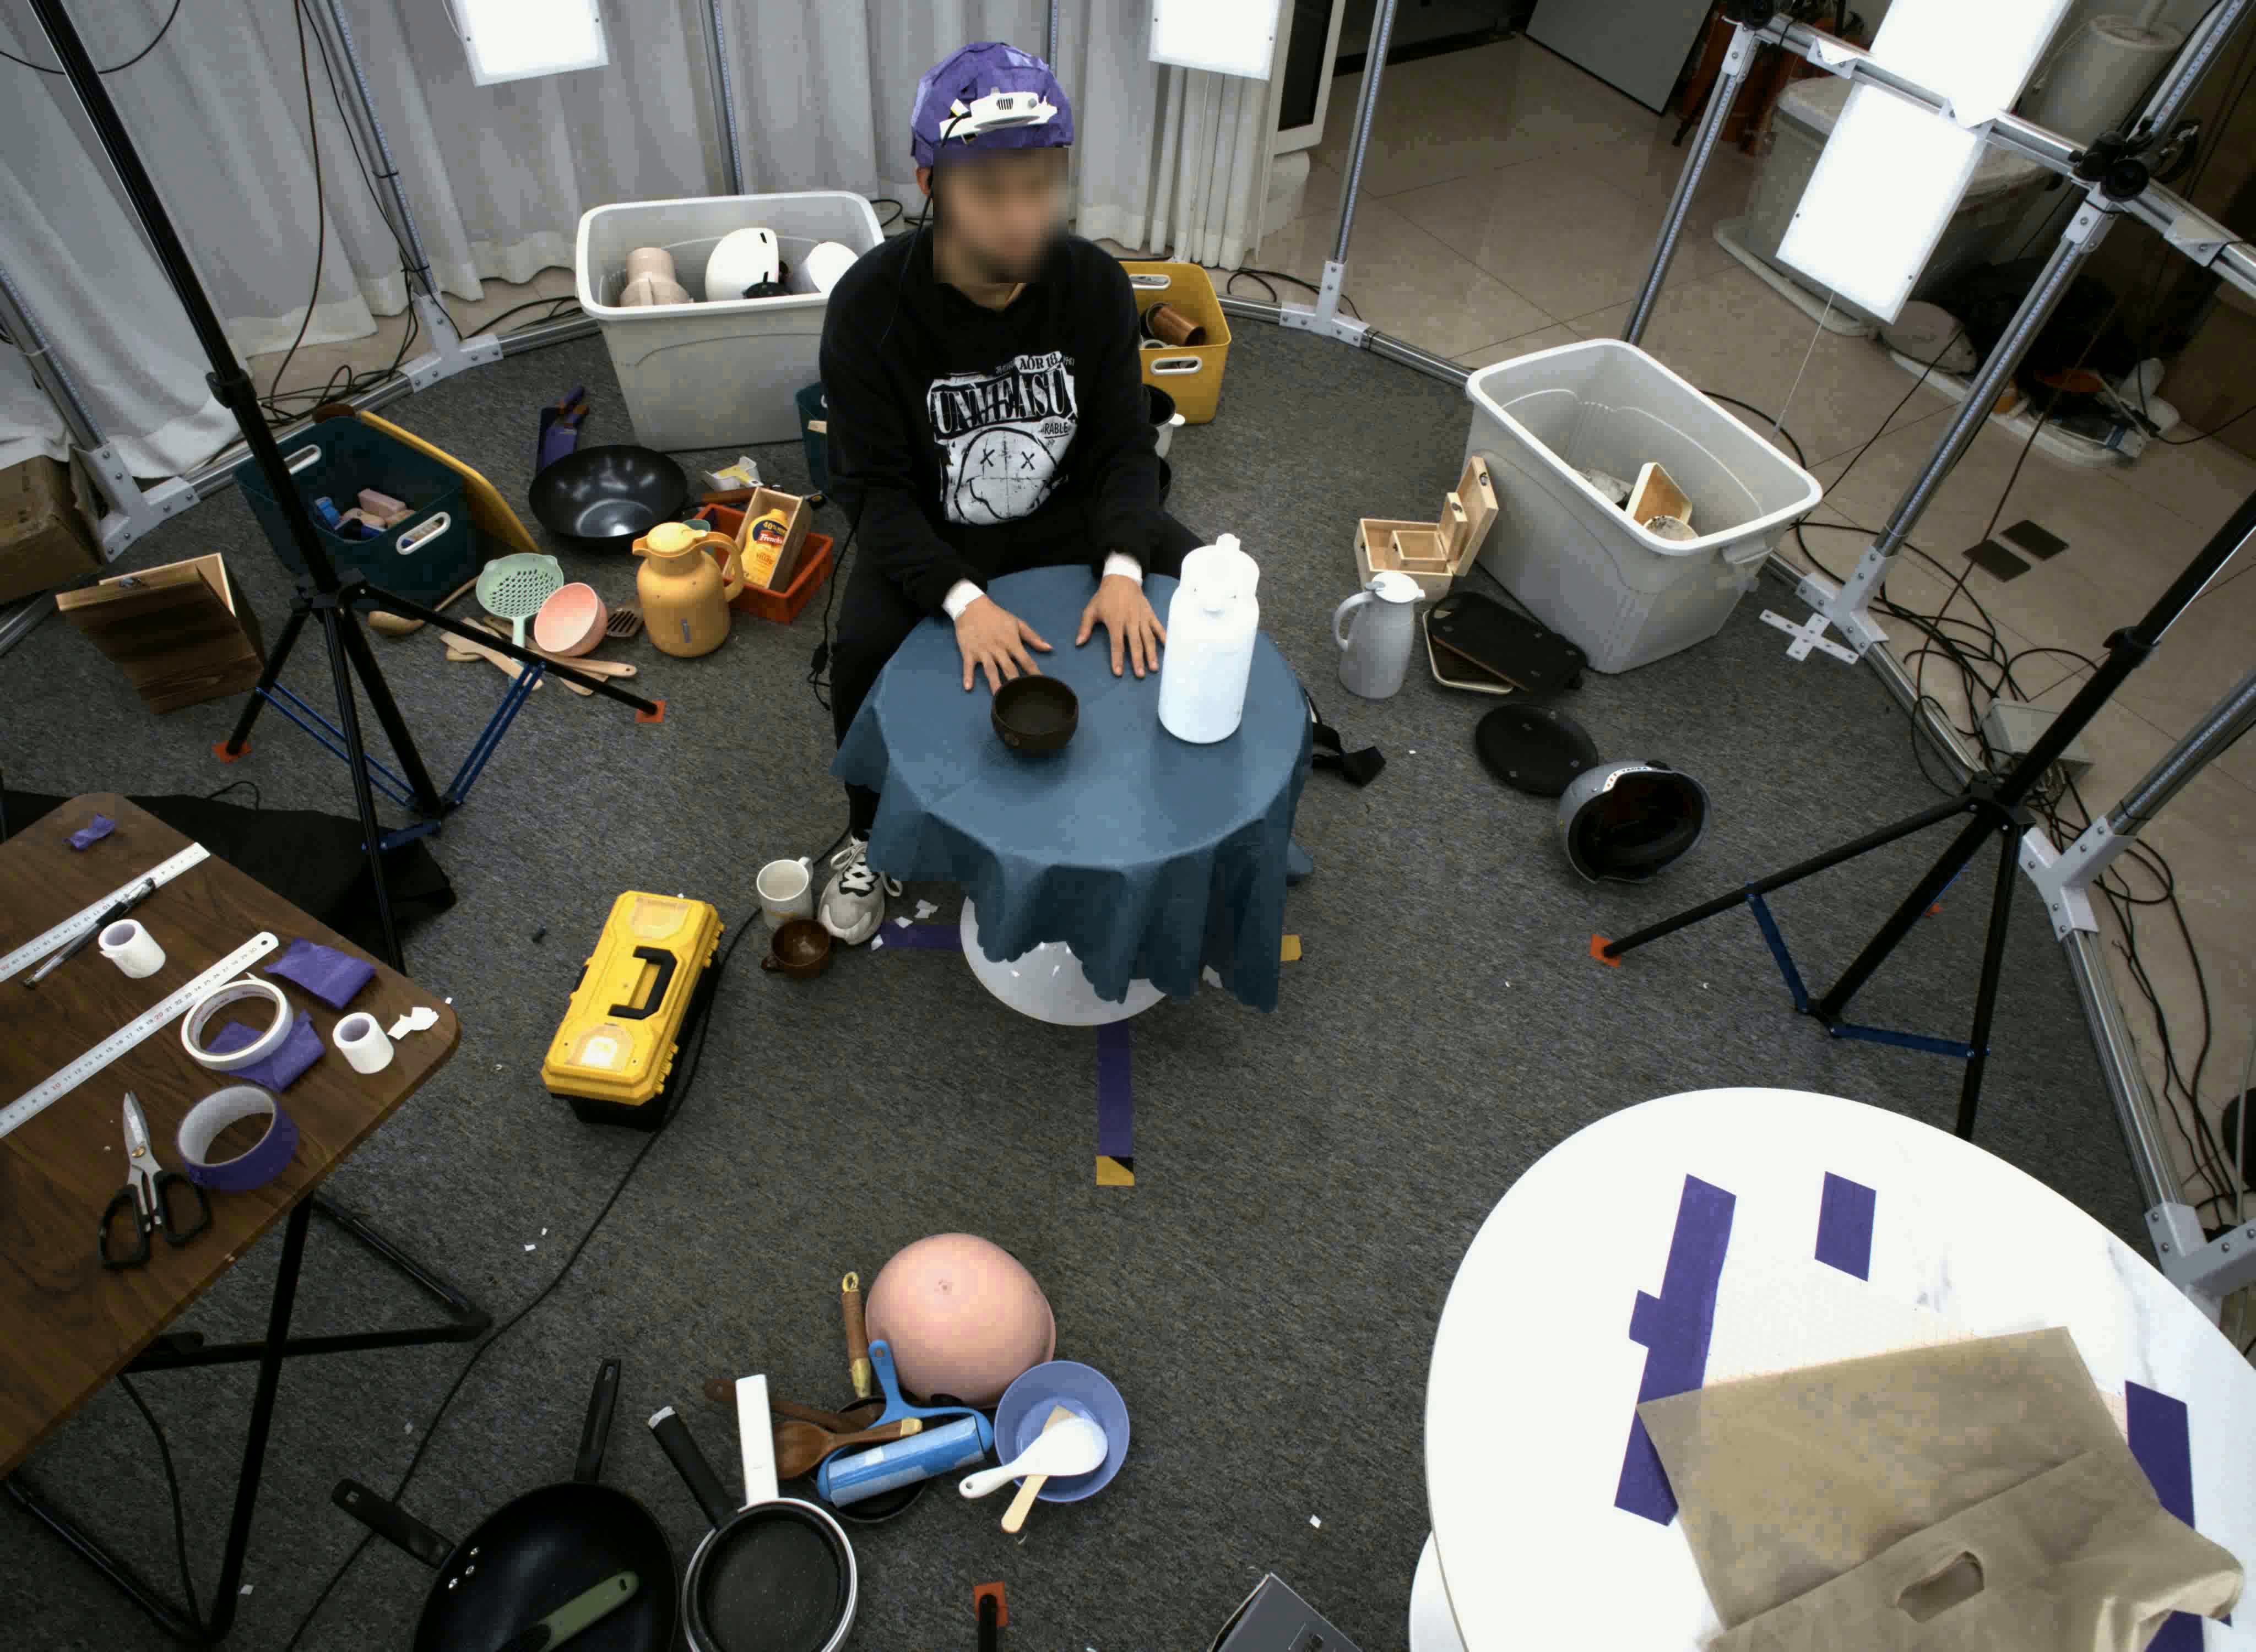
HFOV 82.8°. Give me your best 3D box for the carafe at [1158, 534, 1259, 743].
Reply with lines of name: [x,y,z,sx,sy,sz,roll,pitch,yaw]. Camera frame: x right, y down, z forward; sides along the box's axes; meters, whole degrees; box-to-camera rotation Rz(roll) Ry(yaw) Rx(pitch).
carafe: [0.109,-0.253,1.723,0.124,0.262,0.177,8,49,6]

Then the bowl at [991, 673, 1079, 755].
bowl: [-0.126,-0.143,1.738,0.118,0.068,0.121,2,49,-2]
